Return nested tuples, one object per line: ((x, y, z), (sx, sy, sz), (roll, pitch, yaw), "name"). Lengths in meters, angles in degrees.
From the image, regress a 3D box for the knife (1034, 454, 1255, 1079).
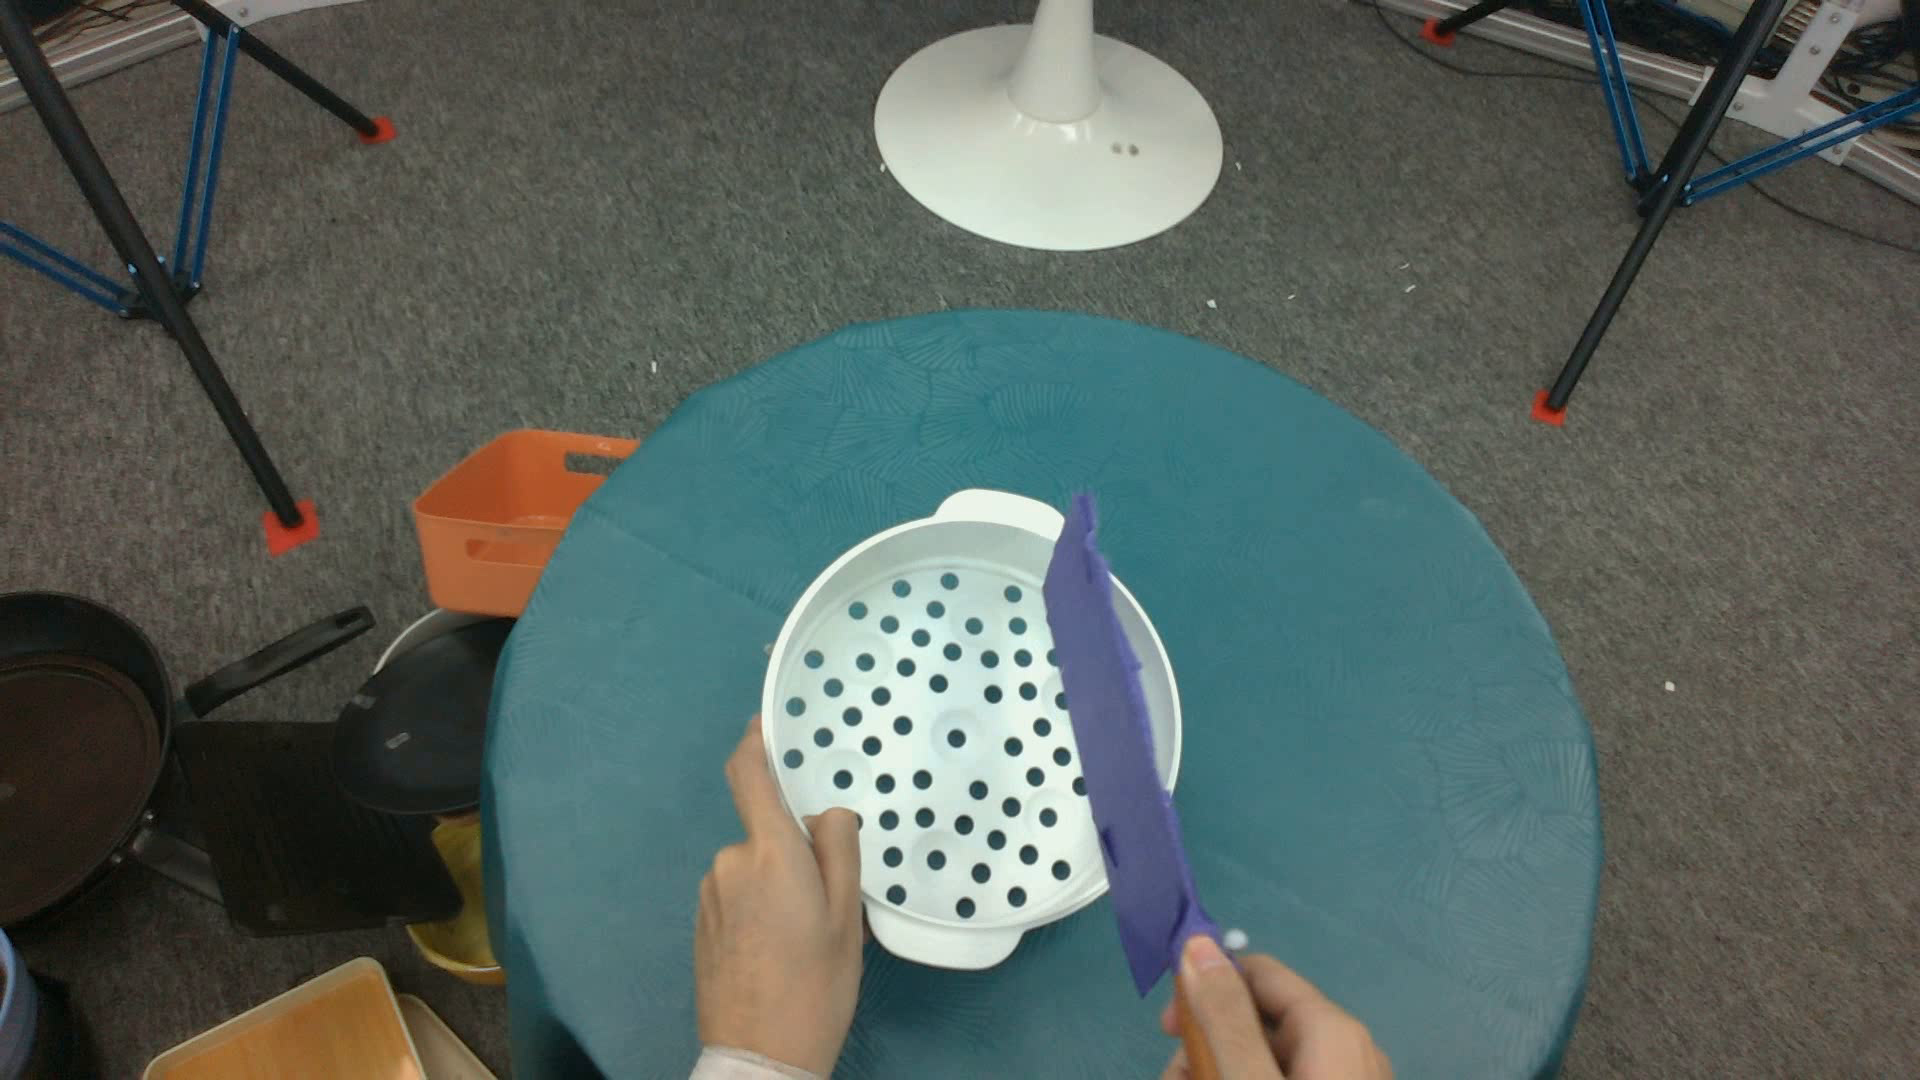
((0.071, 0.117, 0.569), (0.032, 0.103, 0.316), (-1, 56, -11), "knife")

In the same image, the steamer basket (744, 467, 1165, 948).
((-0.004, 0.081, 0.679), (0.202, 0.069, 0.231), (12, 71, -6), "steamer basket")
